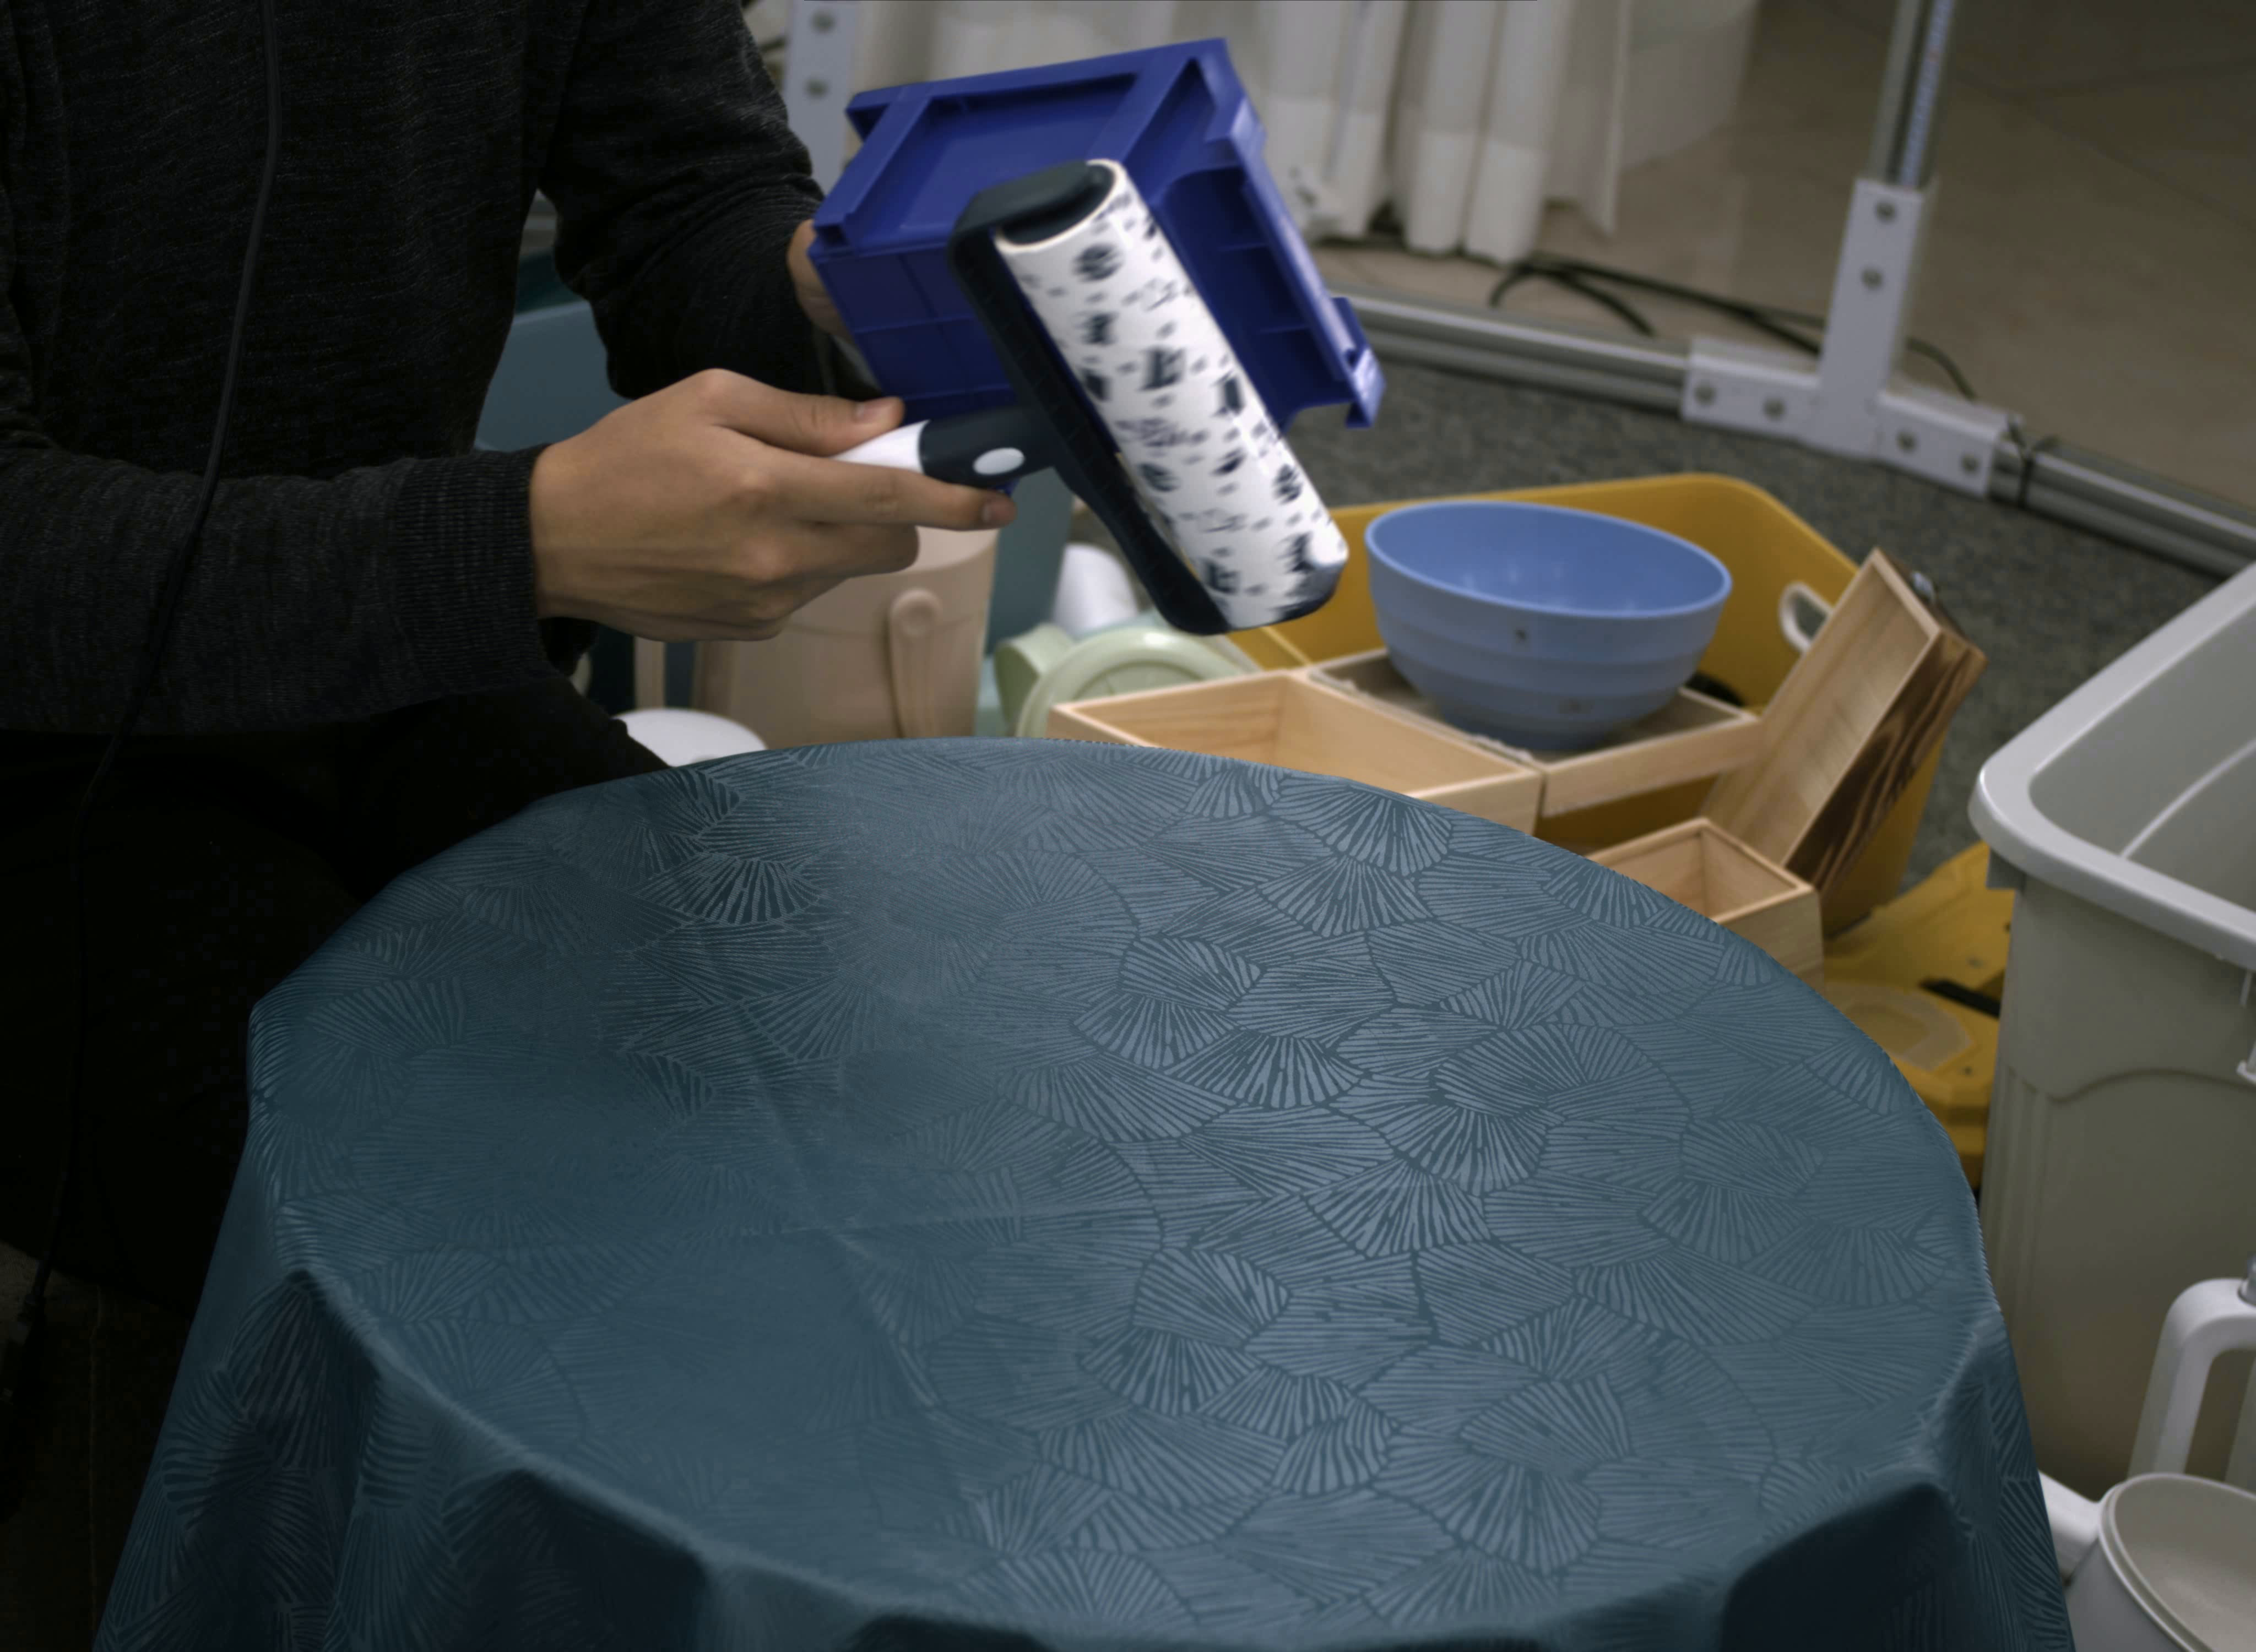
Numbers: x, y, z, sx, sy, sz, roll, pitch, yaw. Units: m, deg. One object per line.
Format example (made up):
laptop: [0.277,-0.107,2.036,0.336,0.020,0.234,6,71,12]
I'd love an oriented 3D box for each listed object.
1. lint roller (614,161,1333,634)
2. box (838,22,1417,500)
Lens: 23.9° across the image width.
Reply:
lint roller: [-0.072,-0.117,1.777,0.247,0.175,0.050,-15,34,30]
box: [0.001,-0.187,1.784,0.180,0.123,0.082,-7,38,33]
